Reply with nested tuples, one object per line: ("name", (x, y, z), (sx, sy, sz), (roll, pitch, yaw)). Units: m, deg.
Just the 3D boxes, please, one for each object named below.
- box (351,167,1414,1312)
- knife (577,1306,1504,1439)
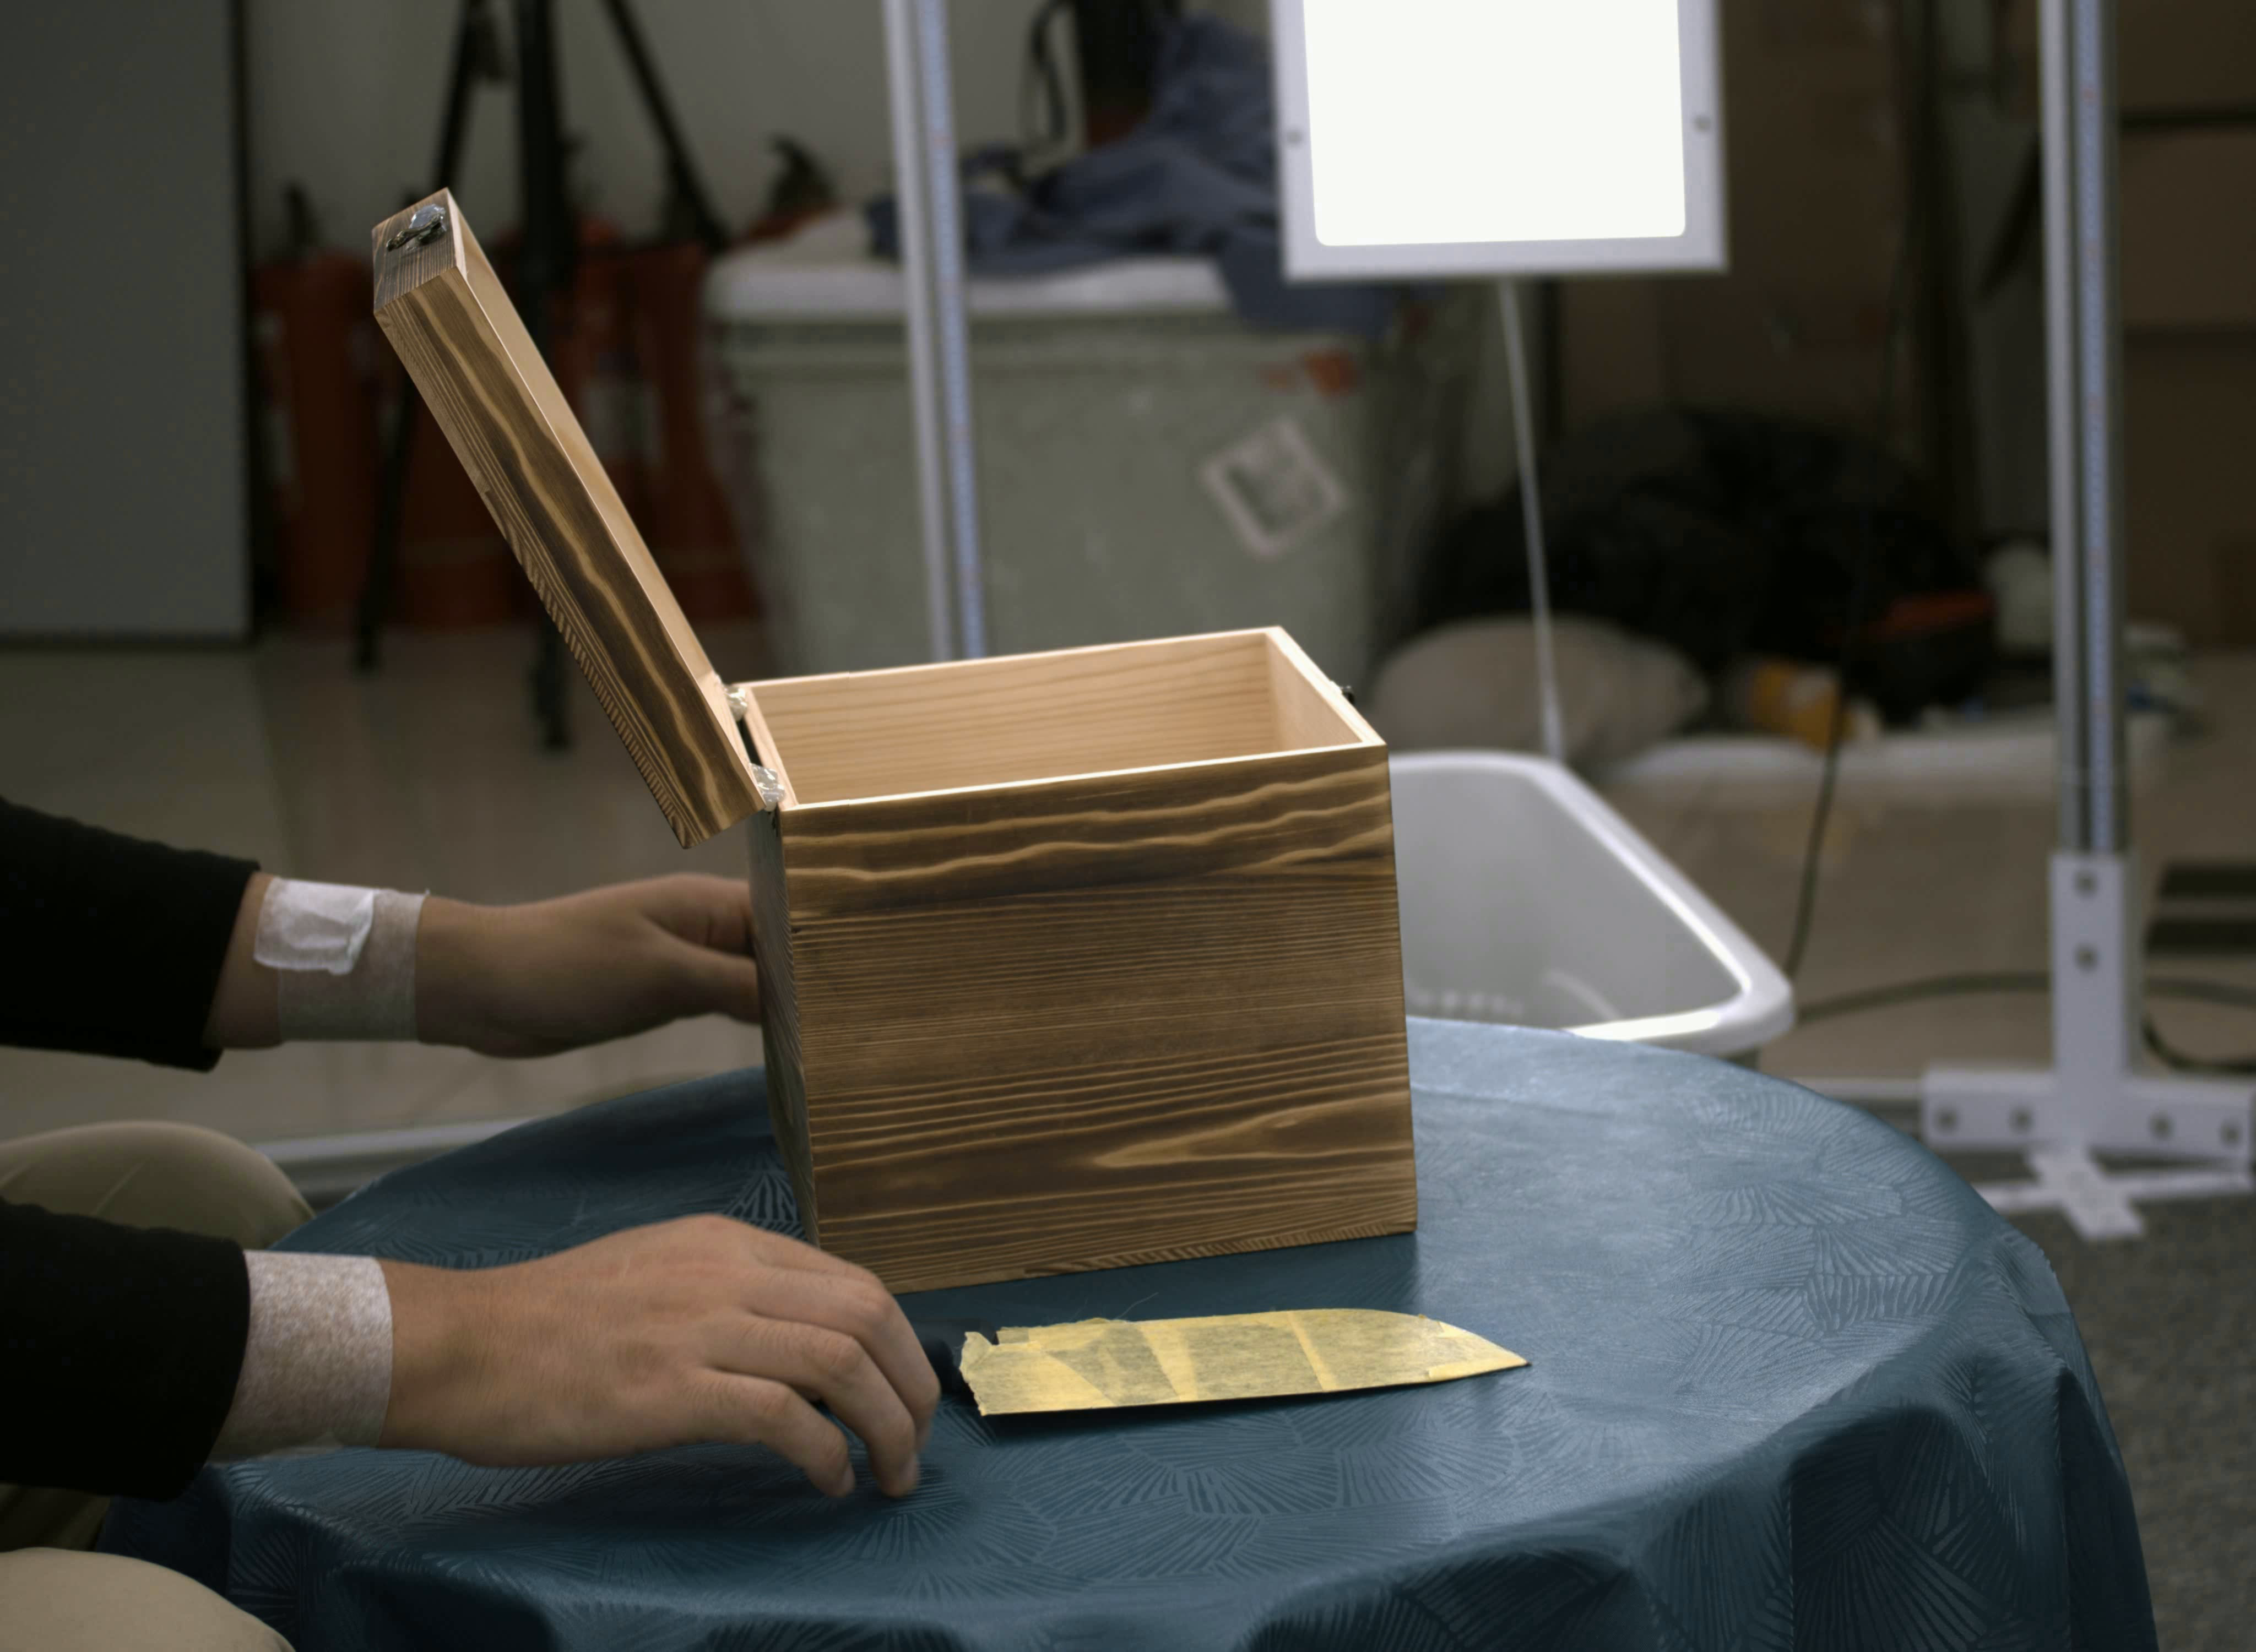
("box", (-0.080, -0.044, 1.865), (0.320, 0.377, 0.209), (-7, 15, -6))
("knife", (-0.026, 0.169, 1.705), (0.288, 0.027, 0.081), (-5, 12, -2))
